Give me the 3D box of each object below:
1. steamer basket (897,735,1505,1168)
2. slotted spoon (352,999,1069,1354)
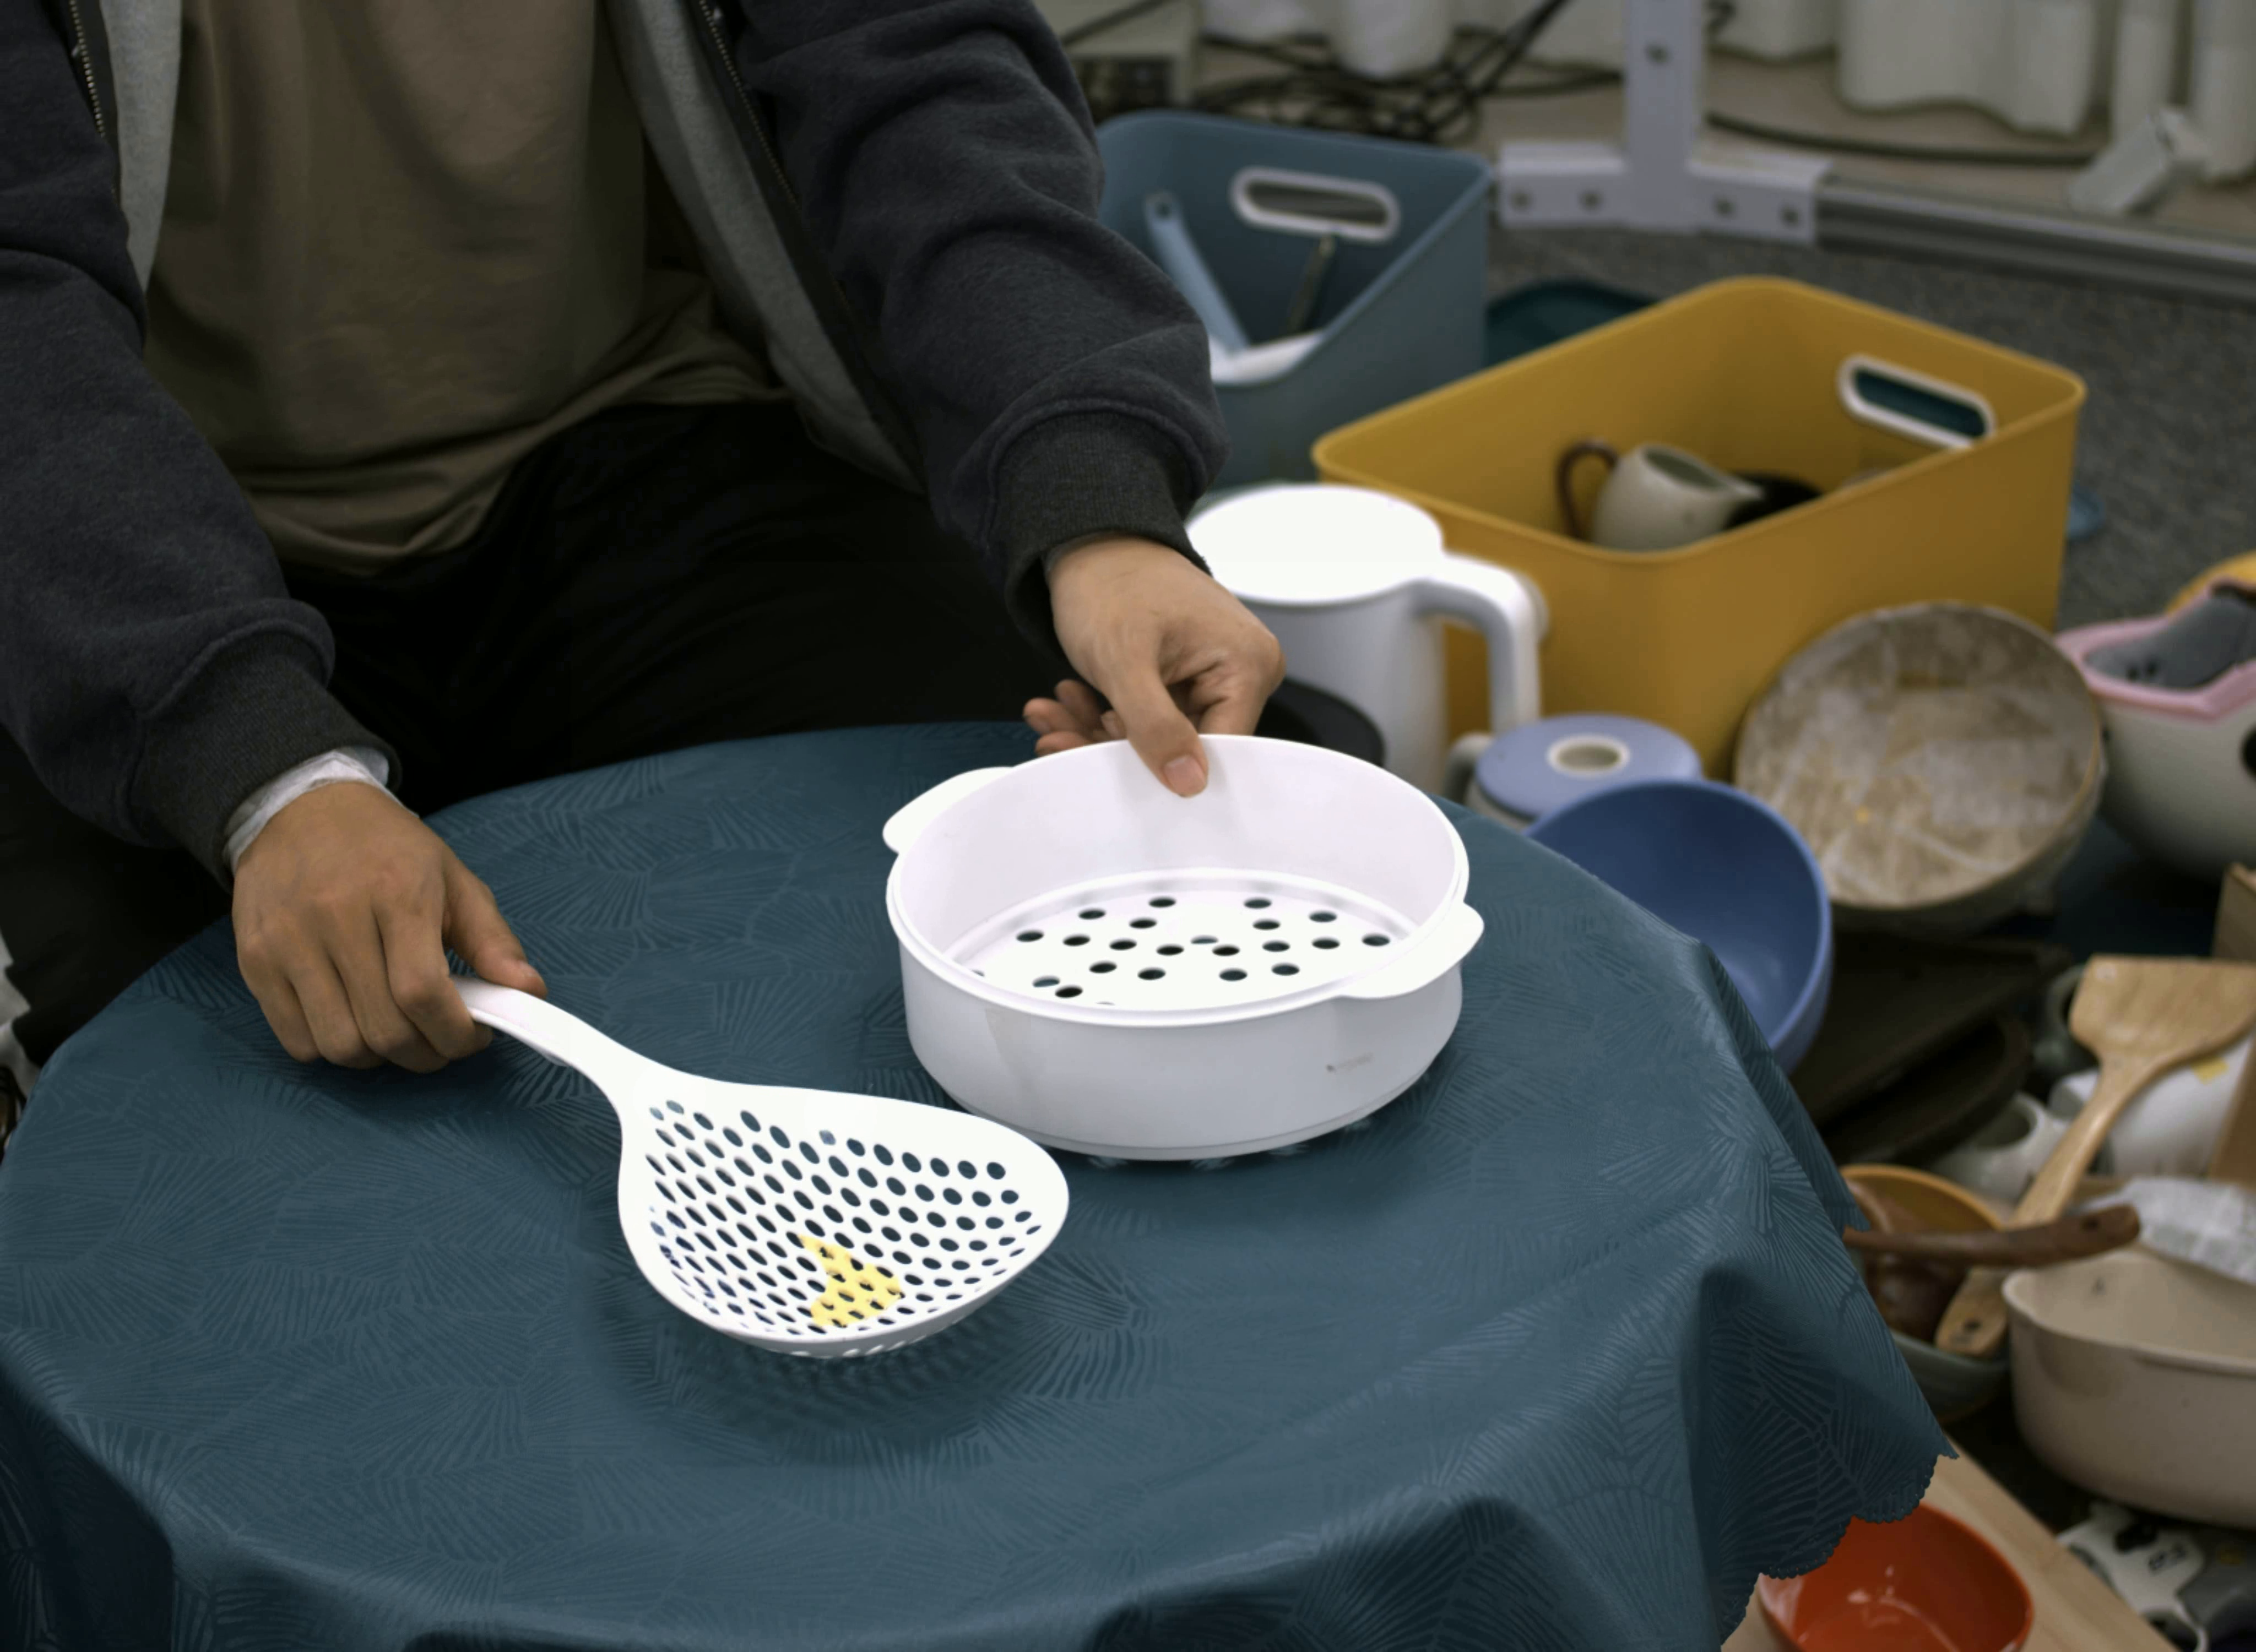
[{"bbox_3d":[0.023,0.044,1.936,0.230,0.068,0.205,19,34,32],"label":"steamer basket"},{"bbox_3d":[-0.156,0.101,1.870,0.138,0.050,0.348,-29,37,-31],"label":"slotted spoon"}]
